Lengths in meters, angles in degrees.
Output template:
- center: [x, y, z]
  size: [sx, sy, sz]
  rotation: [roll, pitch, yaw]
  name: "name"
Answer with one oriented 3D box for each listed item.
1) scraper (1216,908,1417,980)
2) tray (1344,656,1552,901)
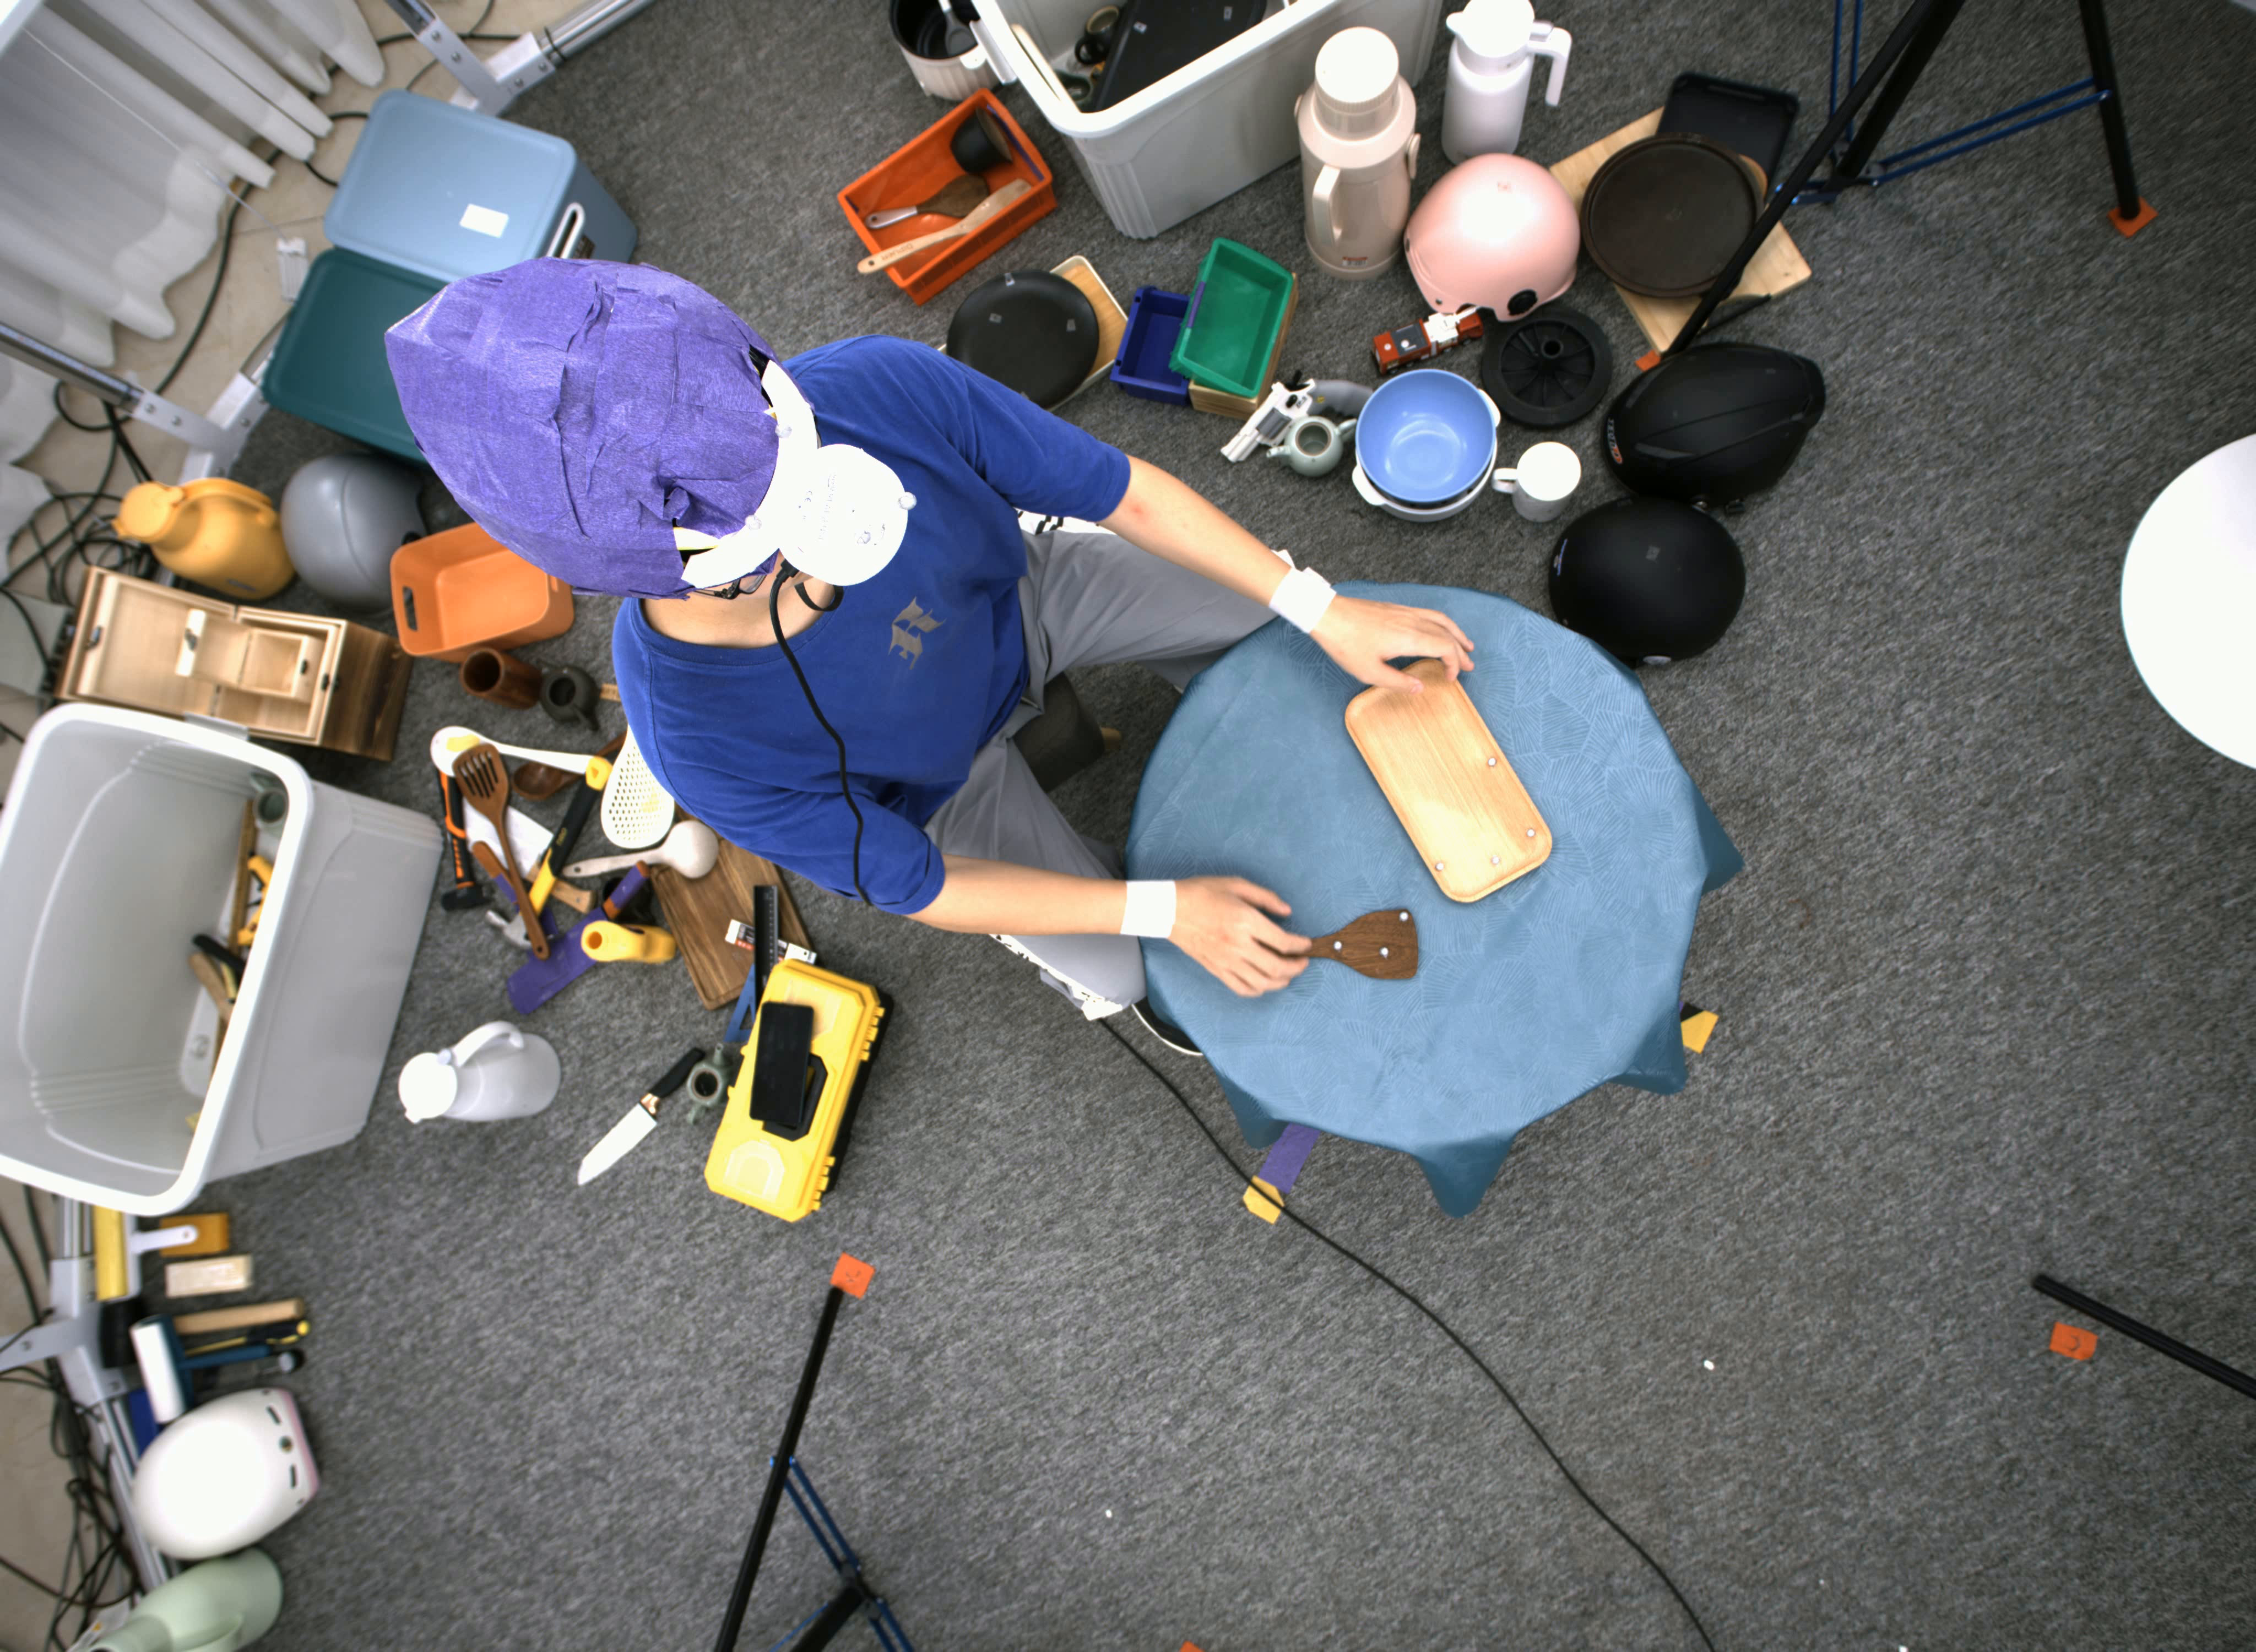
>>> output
- center: [0.199, 0.127, 1.464]
  size: [0.212, 0.011, 0.075]
  rotation: [-3, 86, 11]
  name: "scraper"
- center: [0.334, -0.052, 1.443]
  size: [0.131, 0.023, 0.249]
  rotation: [-29, 82, 5]
  name: "tray"
